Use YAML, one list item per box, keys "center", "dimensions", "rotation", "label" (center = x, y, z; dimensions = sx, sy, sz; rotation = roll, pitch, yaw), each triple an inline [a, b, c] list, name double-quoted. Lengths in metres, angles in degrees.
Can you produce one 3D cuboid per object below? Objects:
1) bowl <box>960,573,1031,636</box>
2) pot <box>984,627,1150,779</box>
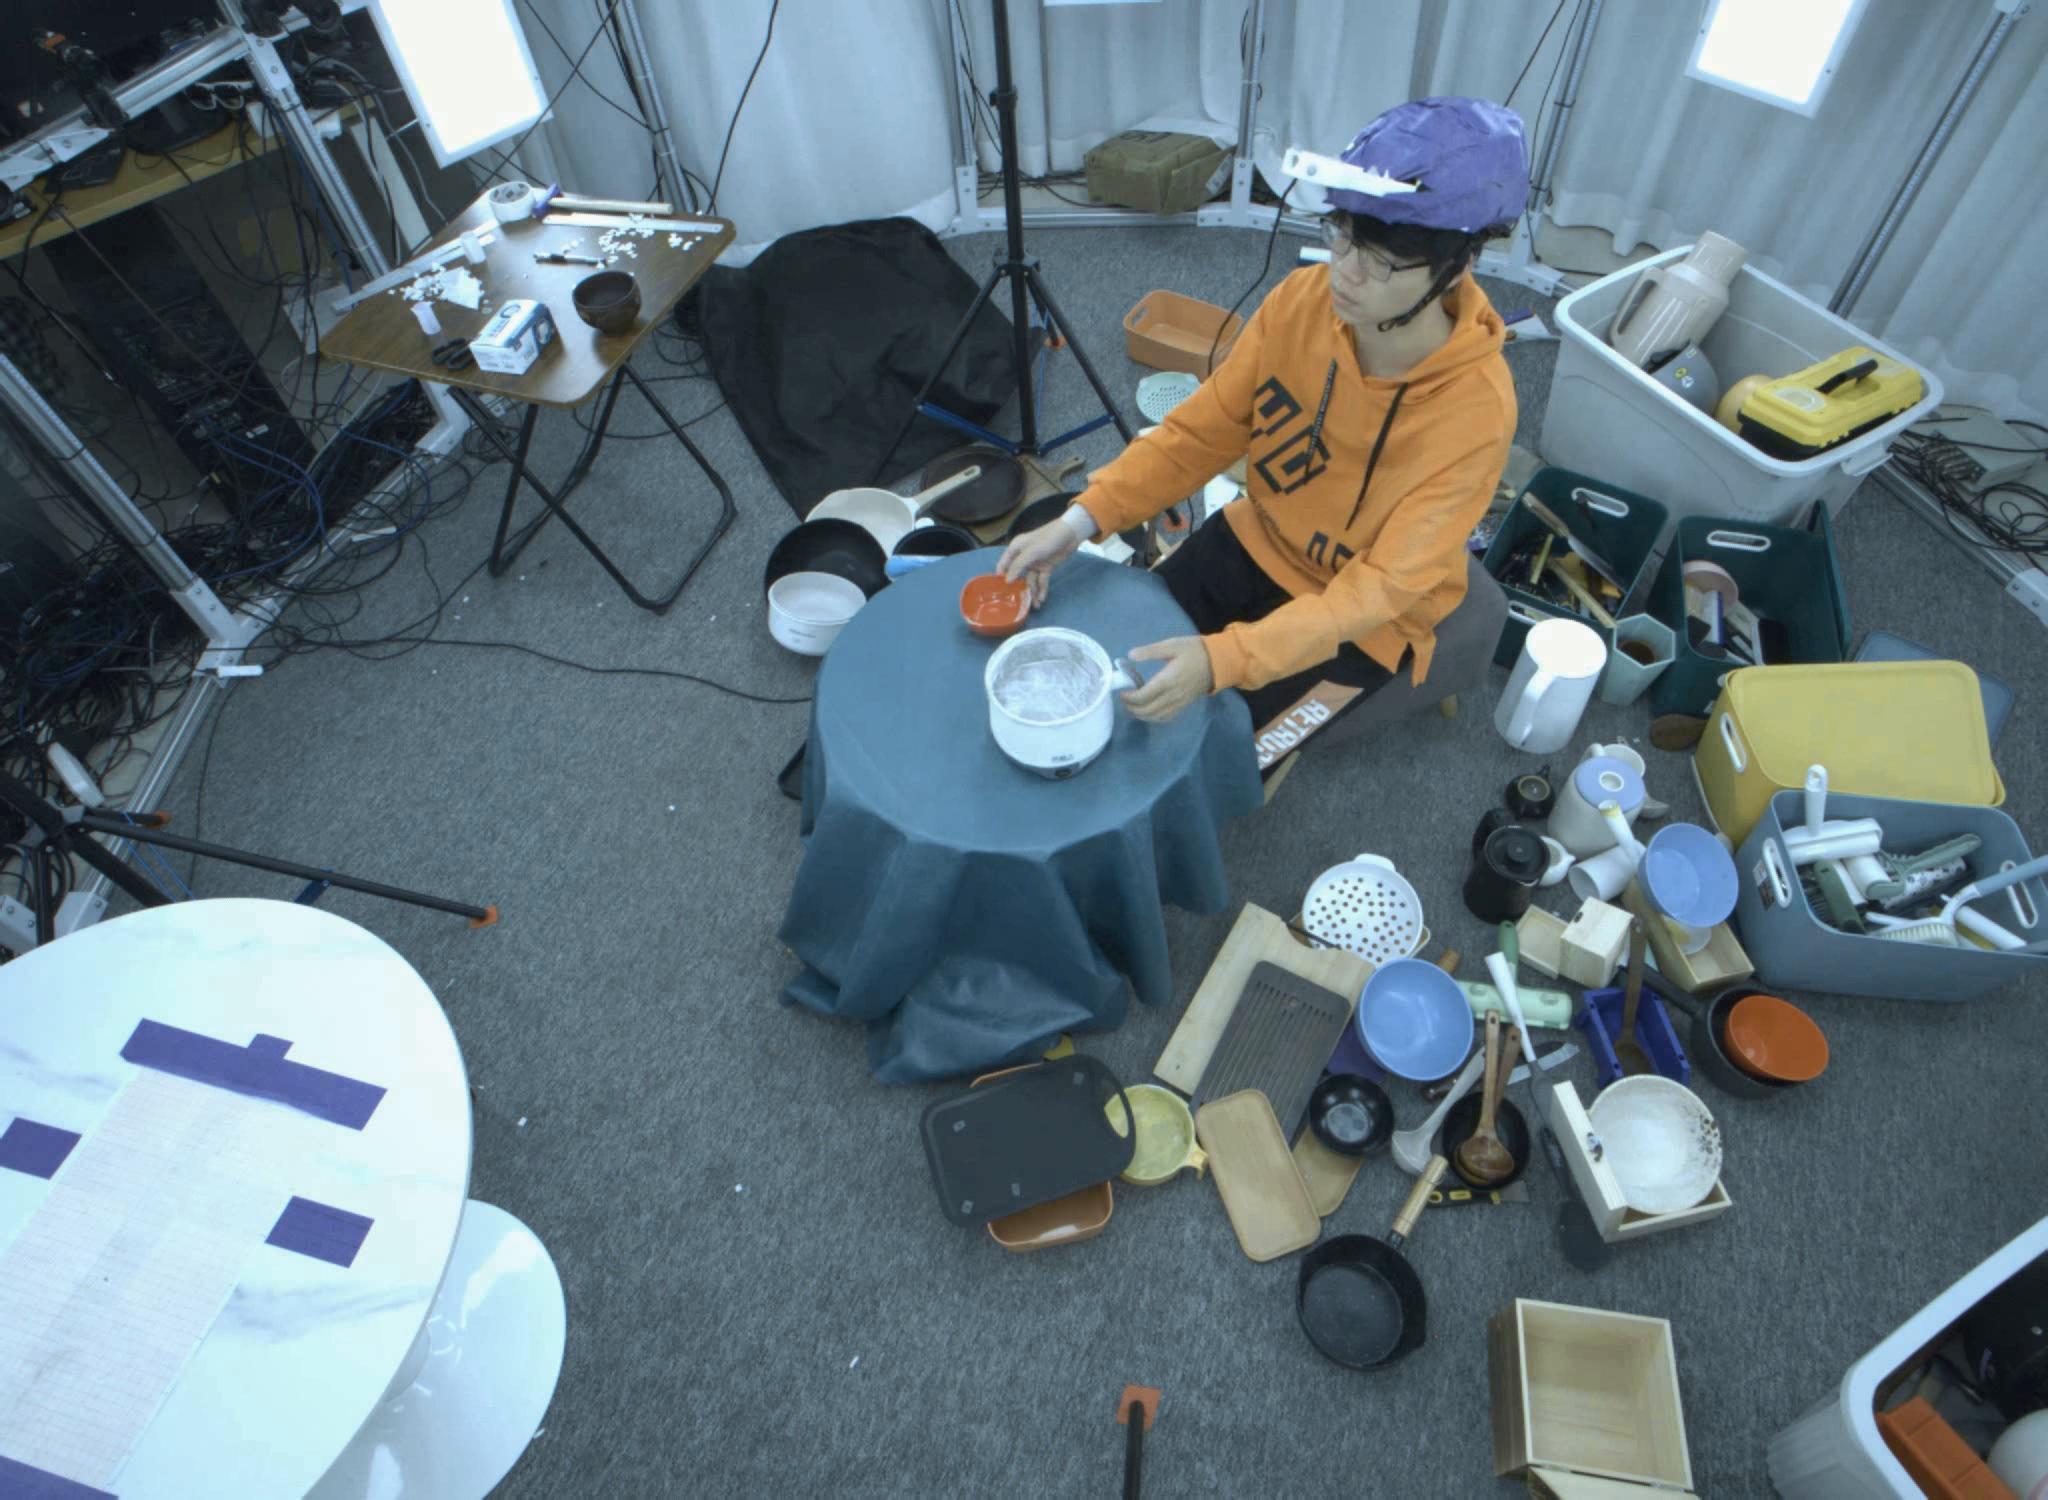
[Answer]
- center: [-0.042, -0.220, 1.912]
  dimensions: [0.119, 0.052, 0.117]
  rotation: [-1, 54, 3]
  label: "bowl"
- center: [0.064, -0.071, 1.751]
  dimensions: [0.234, 0.138, 0.176]
  rotation: [-11, 55, -5]
  label: "pot"
